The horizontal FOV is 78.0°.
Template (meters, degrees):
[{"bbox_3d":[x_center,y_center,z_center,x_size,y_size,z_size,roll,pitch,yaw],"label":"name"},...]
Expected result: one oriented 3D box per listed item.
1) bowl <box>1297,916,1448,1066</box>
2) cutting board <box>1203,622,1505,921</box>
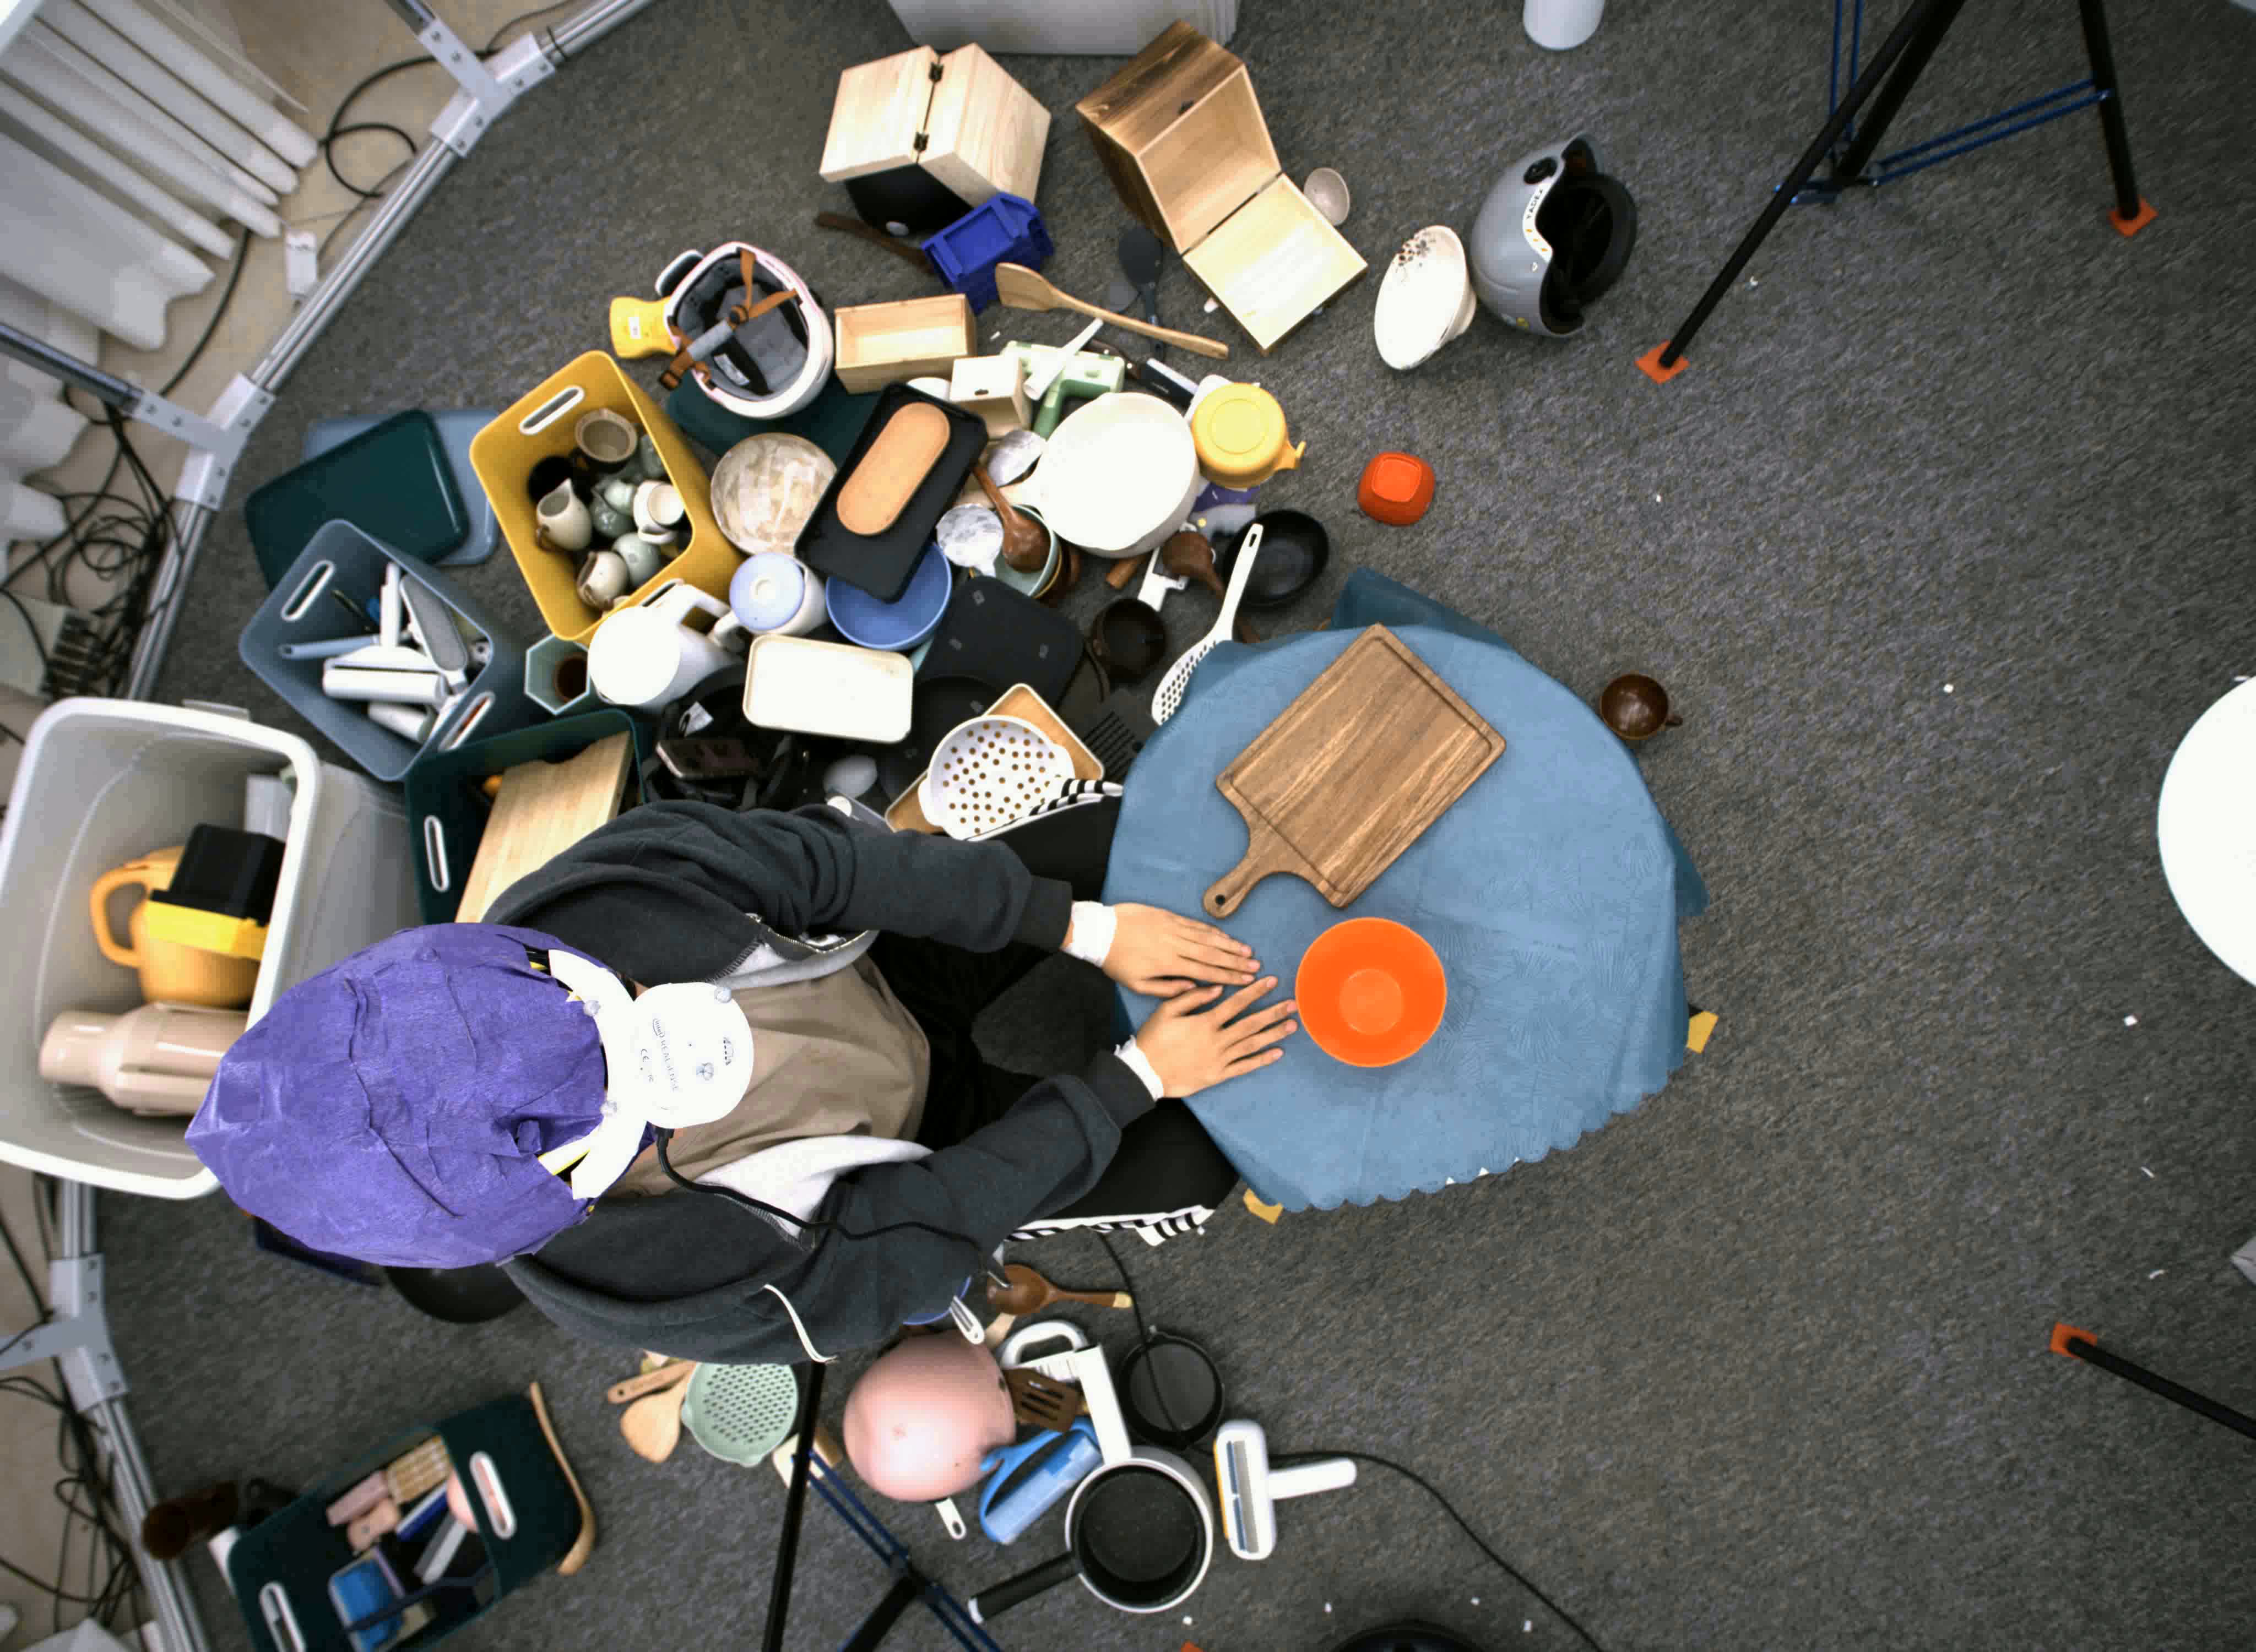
[{"bbox_3d":[0.248,0.167,1.407,0.148,0.105,0.147,-1,85,10],"label":"bowl"},{"bbox_3d":[0.208,-0.031,1.466,0.354,0.023,0.200,-45,80,6],"label":"cutting board"}]
